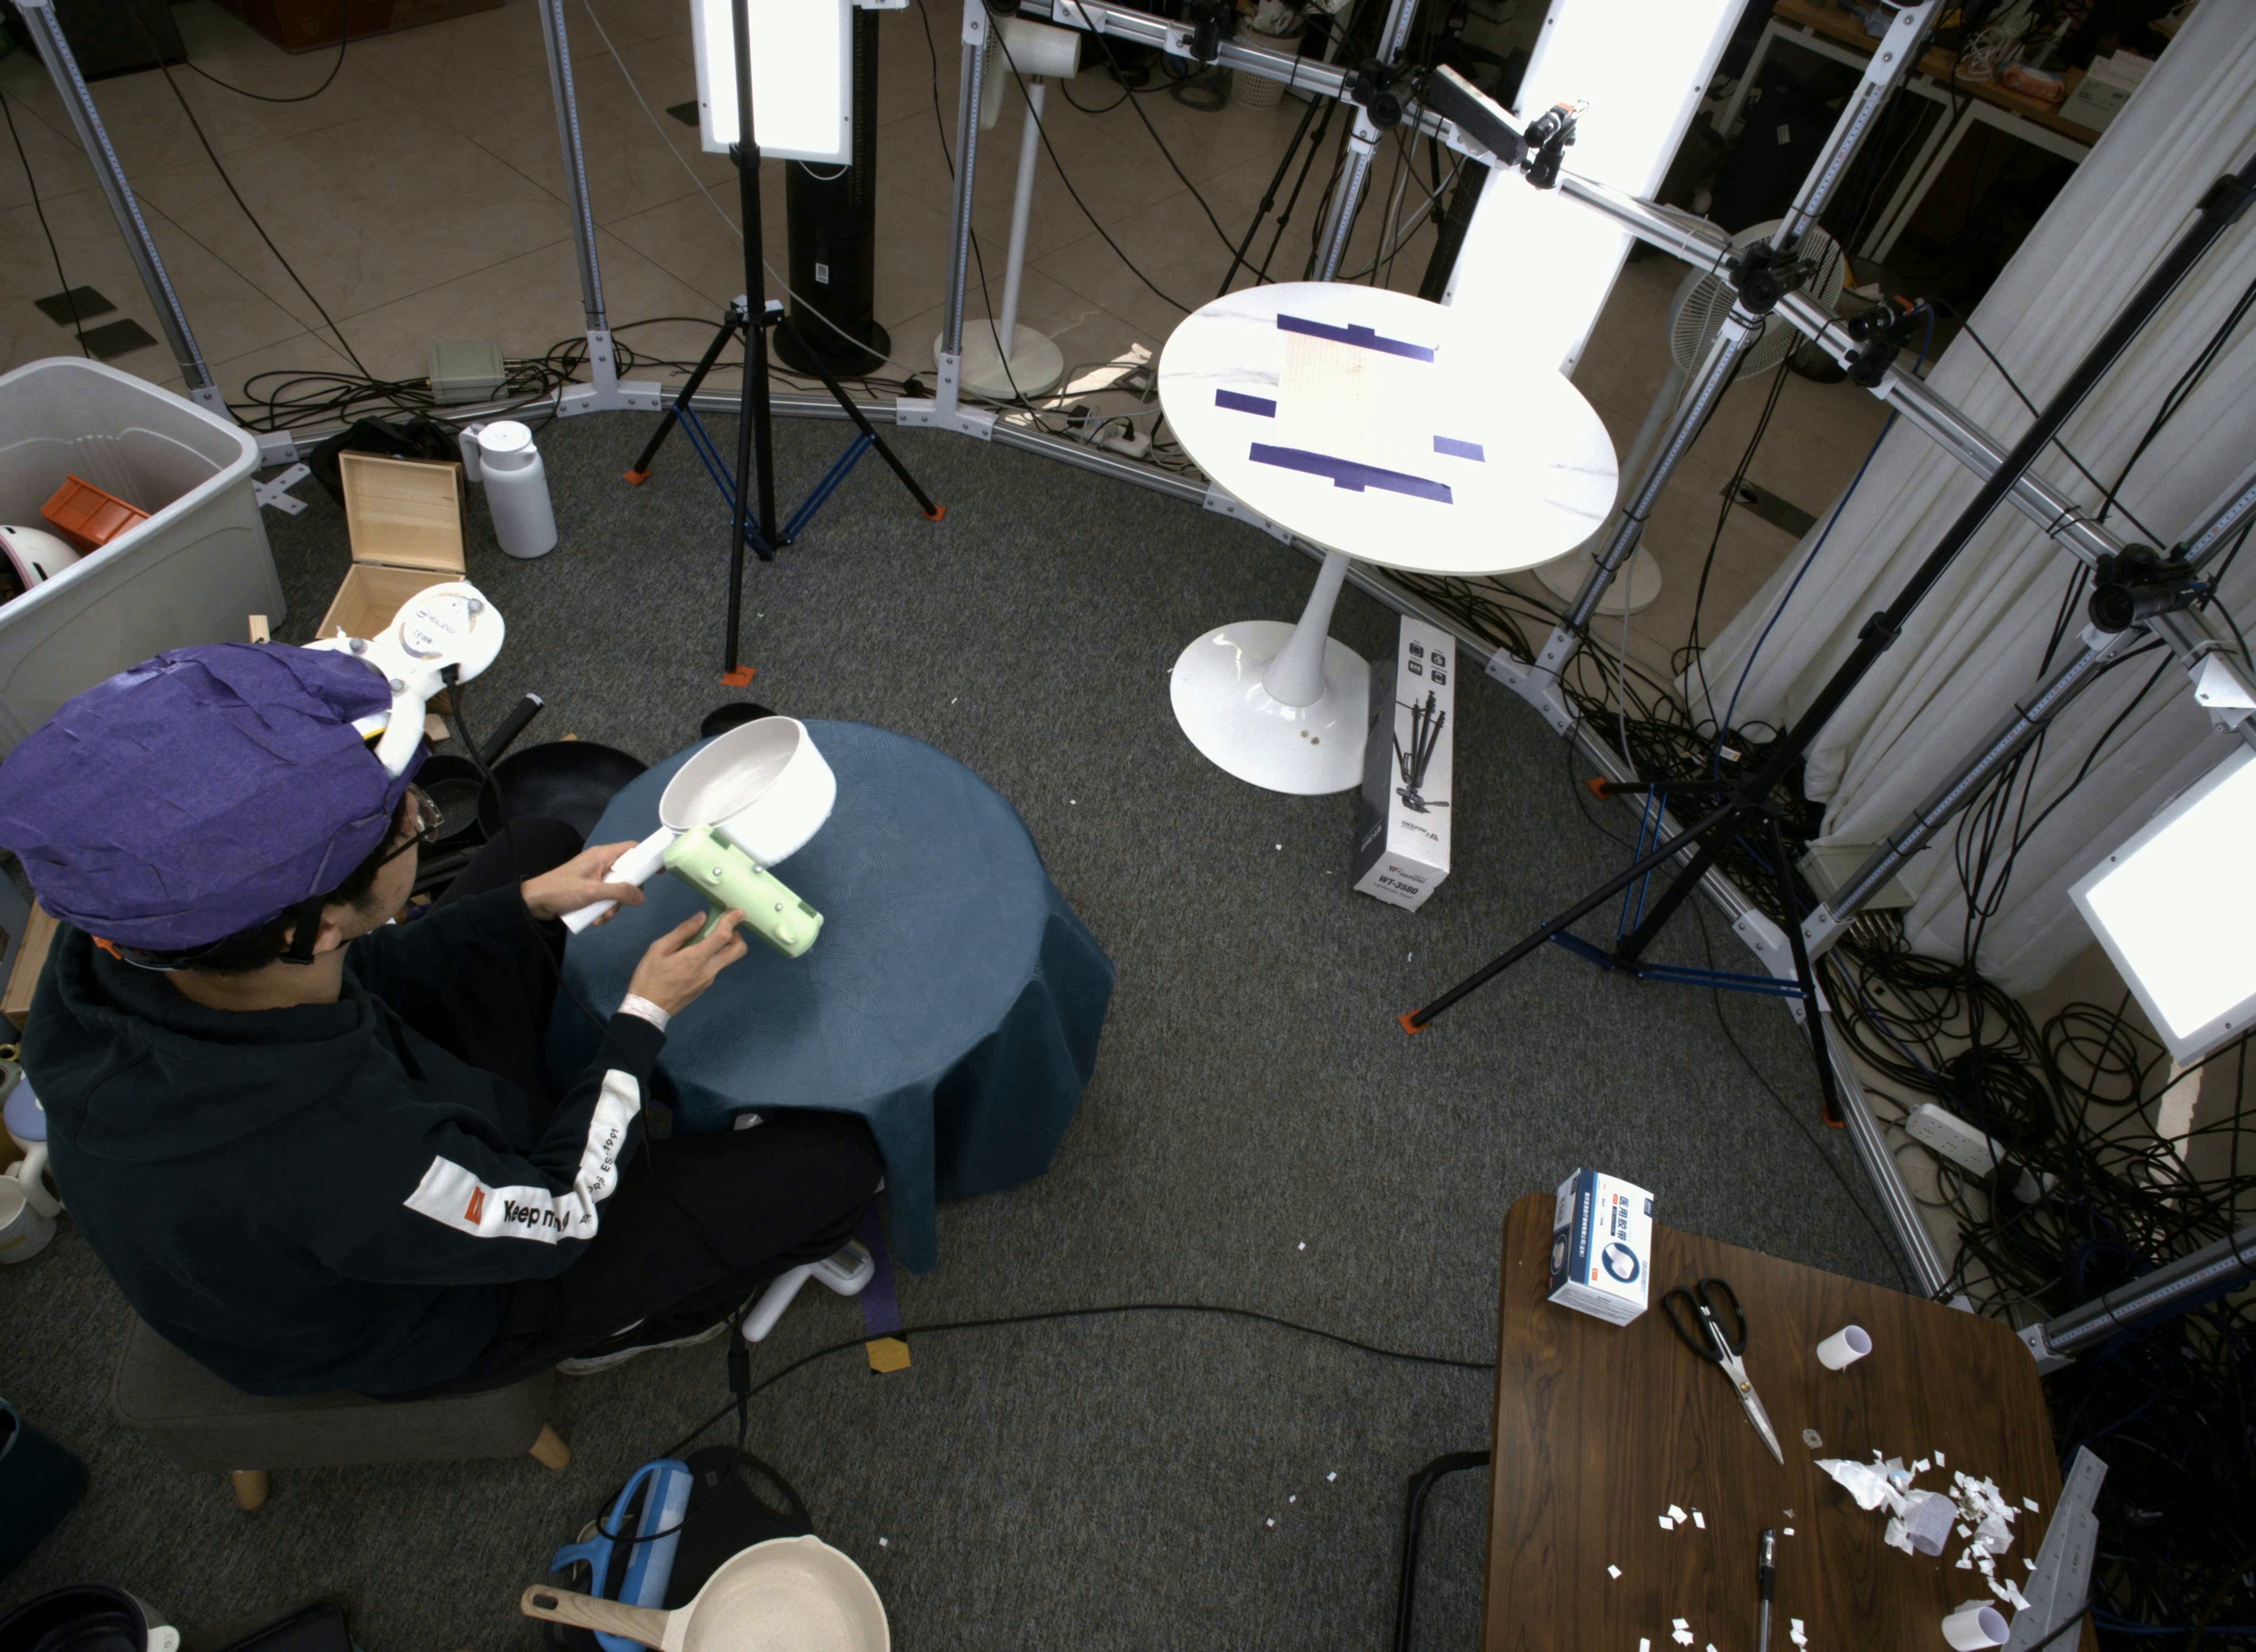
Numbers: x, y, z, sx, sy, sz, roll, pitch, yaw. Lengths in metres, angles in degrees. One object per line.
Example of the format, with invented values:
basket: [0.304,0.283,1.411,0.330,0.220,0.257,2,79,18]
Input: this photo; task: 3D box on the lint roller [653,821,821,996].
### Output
lint roller: [-0.471,0.120,1.463,0.079,0.206,0.183,15,65,52]

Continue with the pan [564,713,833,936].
pan: [-0.505,0.017,1.527,0.355,0.106,0.193,-44,40,-18]
